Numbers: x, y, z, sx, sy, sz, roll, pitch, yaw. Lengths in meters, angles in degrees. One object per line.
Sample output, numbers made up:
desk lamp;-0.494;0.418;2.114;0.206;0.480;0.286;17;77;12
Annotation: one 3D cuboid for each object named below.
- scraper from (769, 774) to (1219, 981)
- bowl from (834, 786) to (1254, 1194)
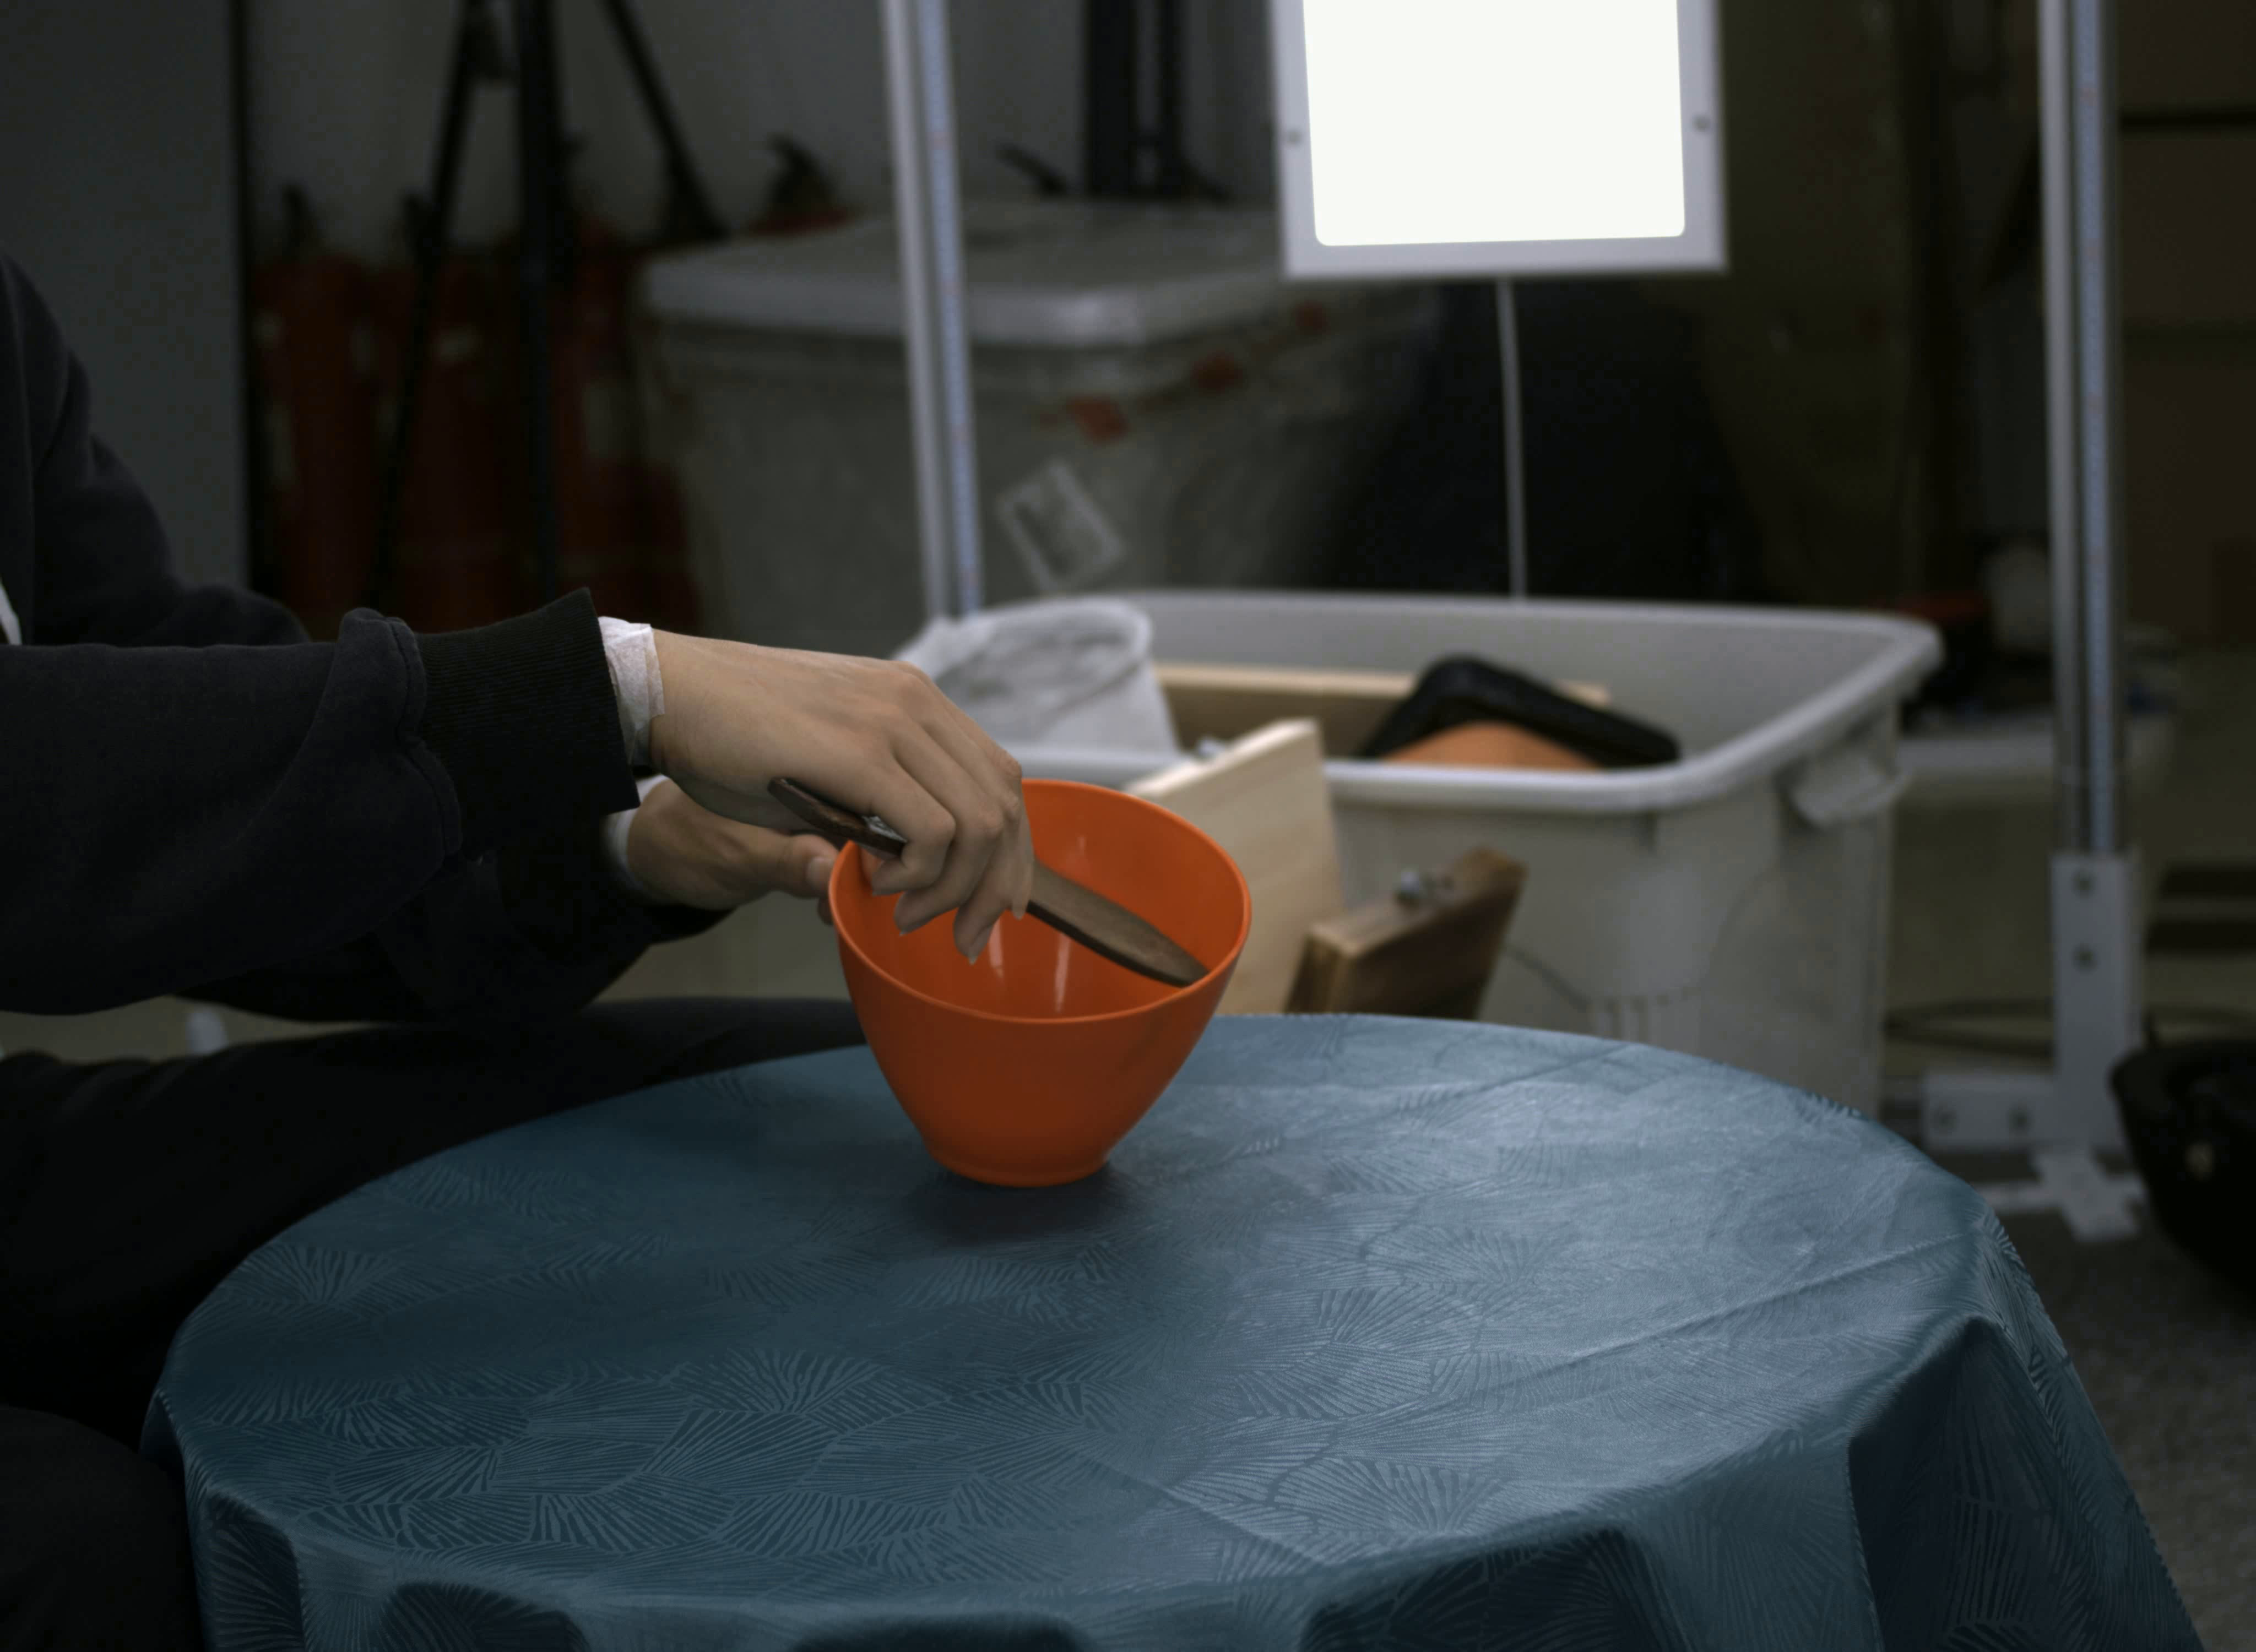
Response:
scraper;-0.049;0.015;1.838;0.077;0.011;0.207;35;7;38
bowl;-0.033;0.063;1.927;0.147;0.105;0.147;4;24;-3
